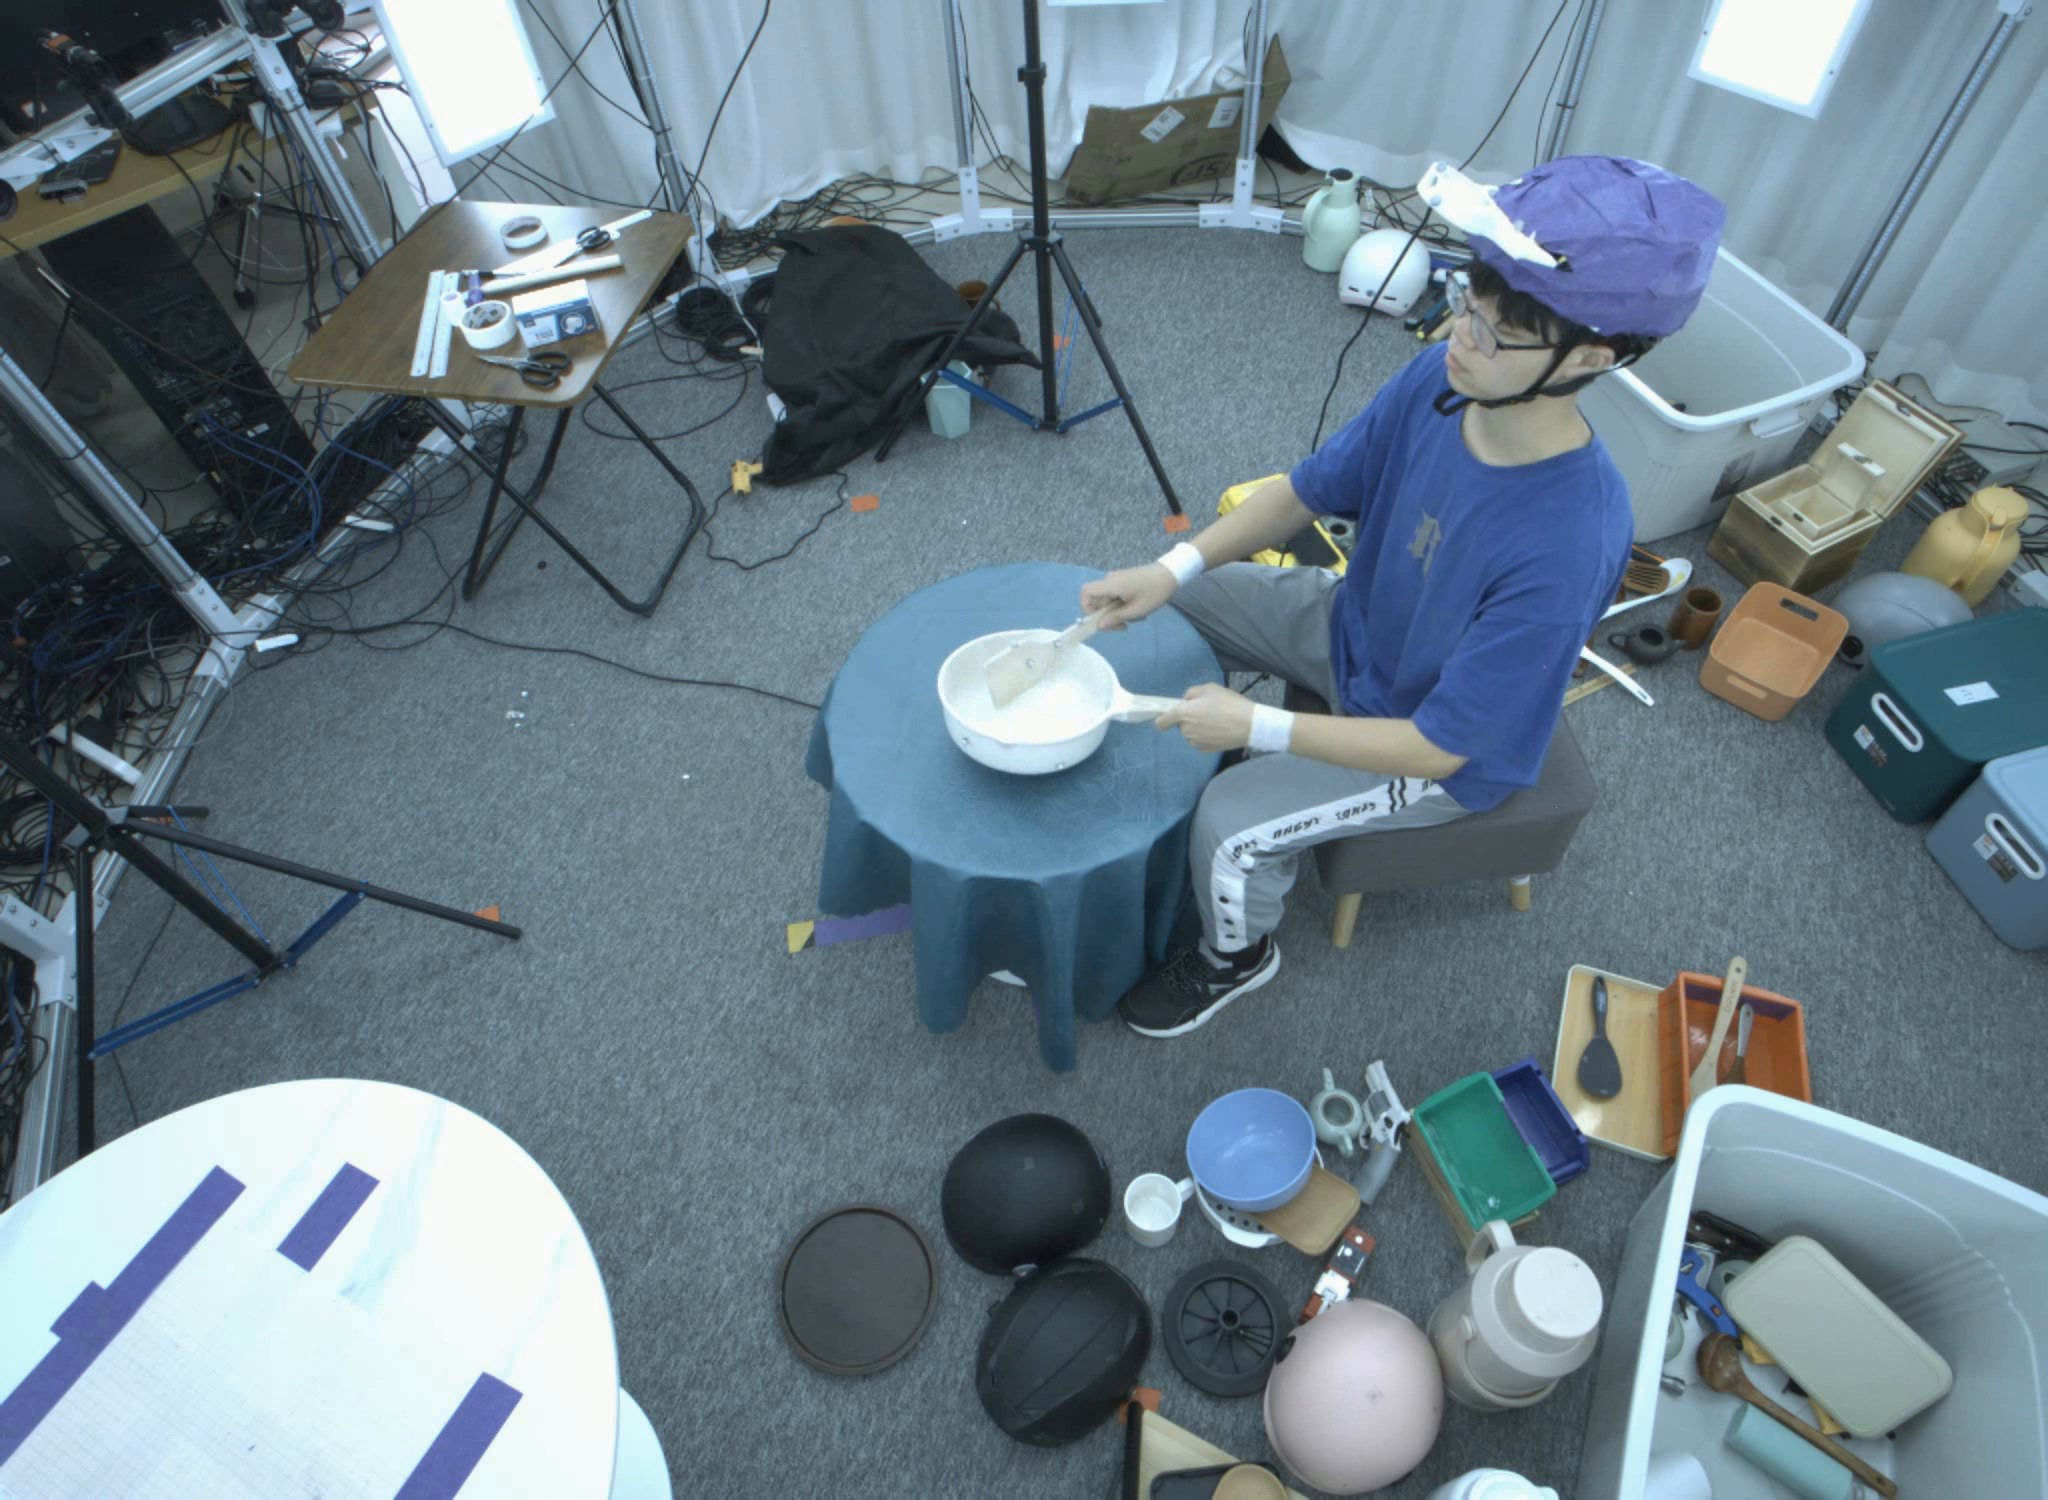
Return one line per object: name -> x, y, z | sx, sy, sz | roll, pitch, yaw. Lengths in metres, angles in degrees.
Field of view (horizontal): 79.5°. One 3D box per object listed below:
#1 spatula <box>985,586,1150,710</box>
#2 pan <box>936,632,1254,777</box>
spatula -> 0.067, -0.157, 1.741 | 0.295, 0.073, 0.010 | -33, 33, -23
pan -> 0.093, -0.049, 1.702 | 0.433, 0.103, 0.262 | 10, 40, 6
